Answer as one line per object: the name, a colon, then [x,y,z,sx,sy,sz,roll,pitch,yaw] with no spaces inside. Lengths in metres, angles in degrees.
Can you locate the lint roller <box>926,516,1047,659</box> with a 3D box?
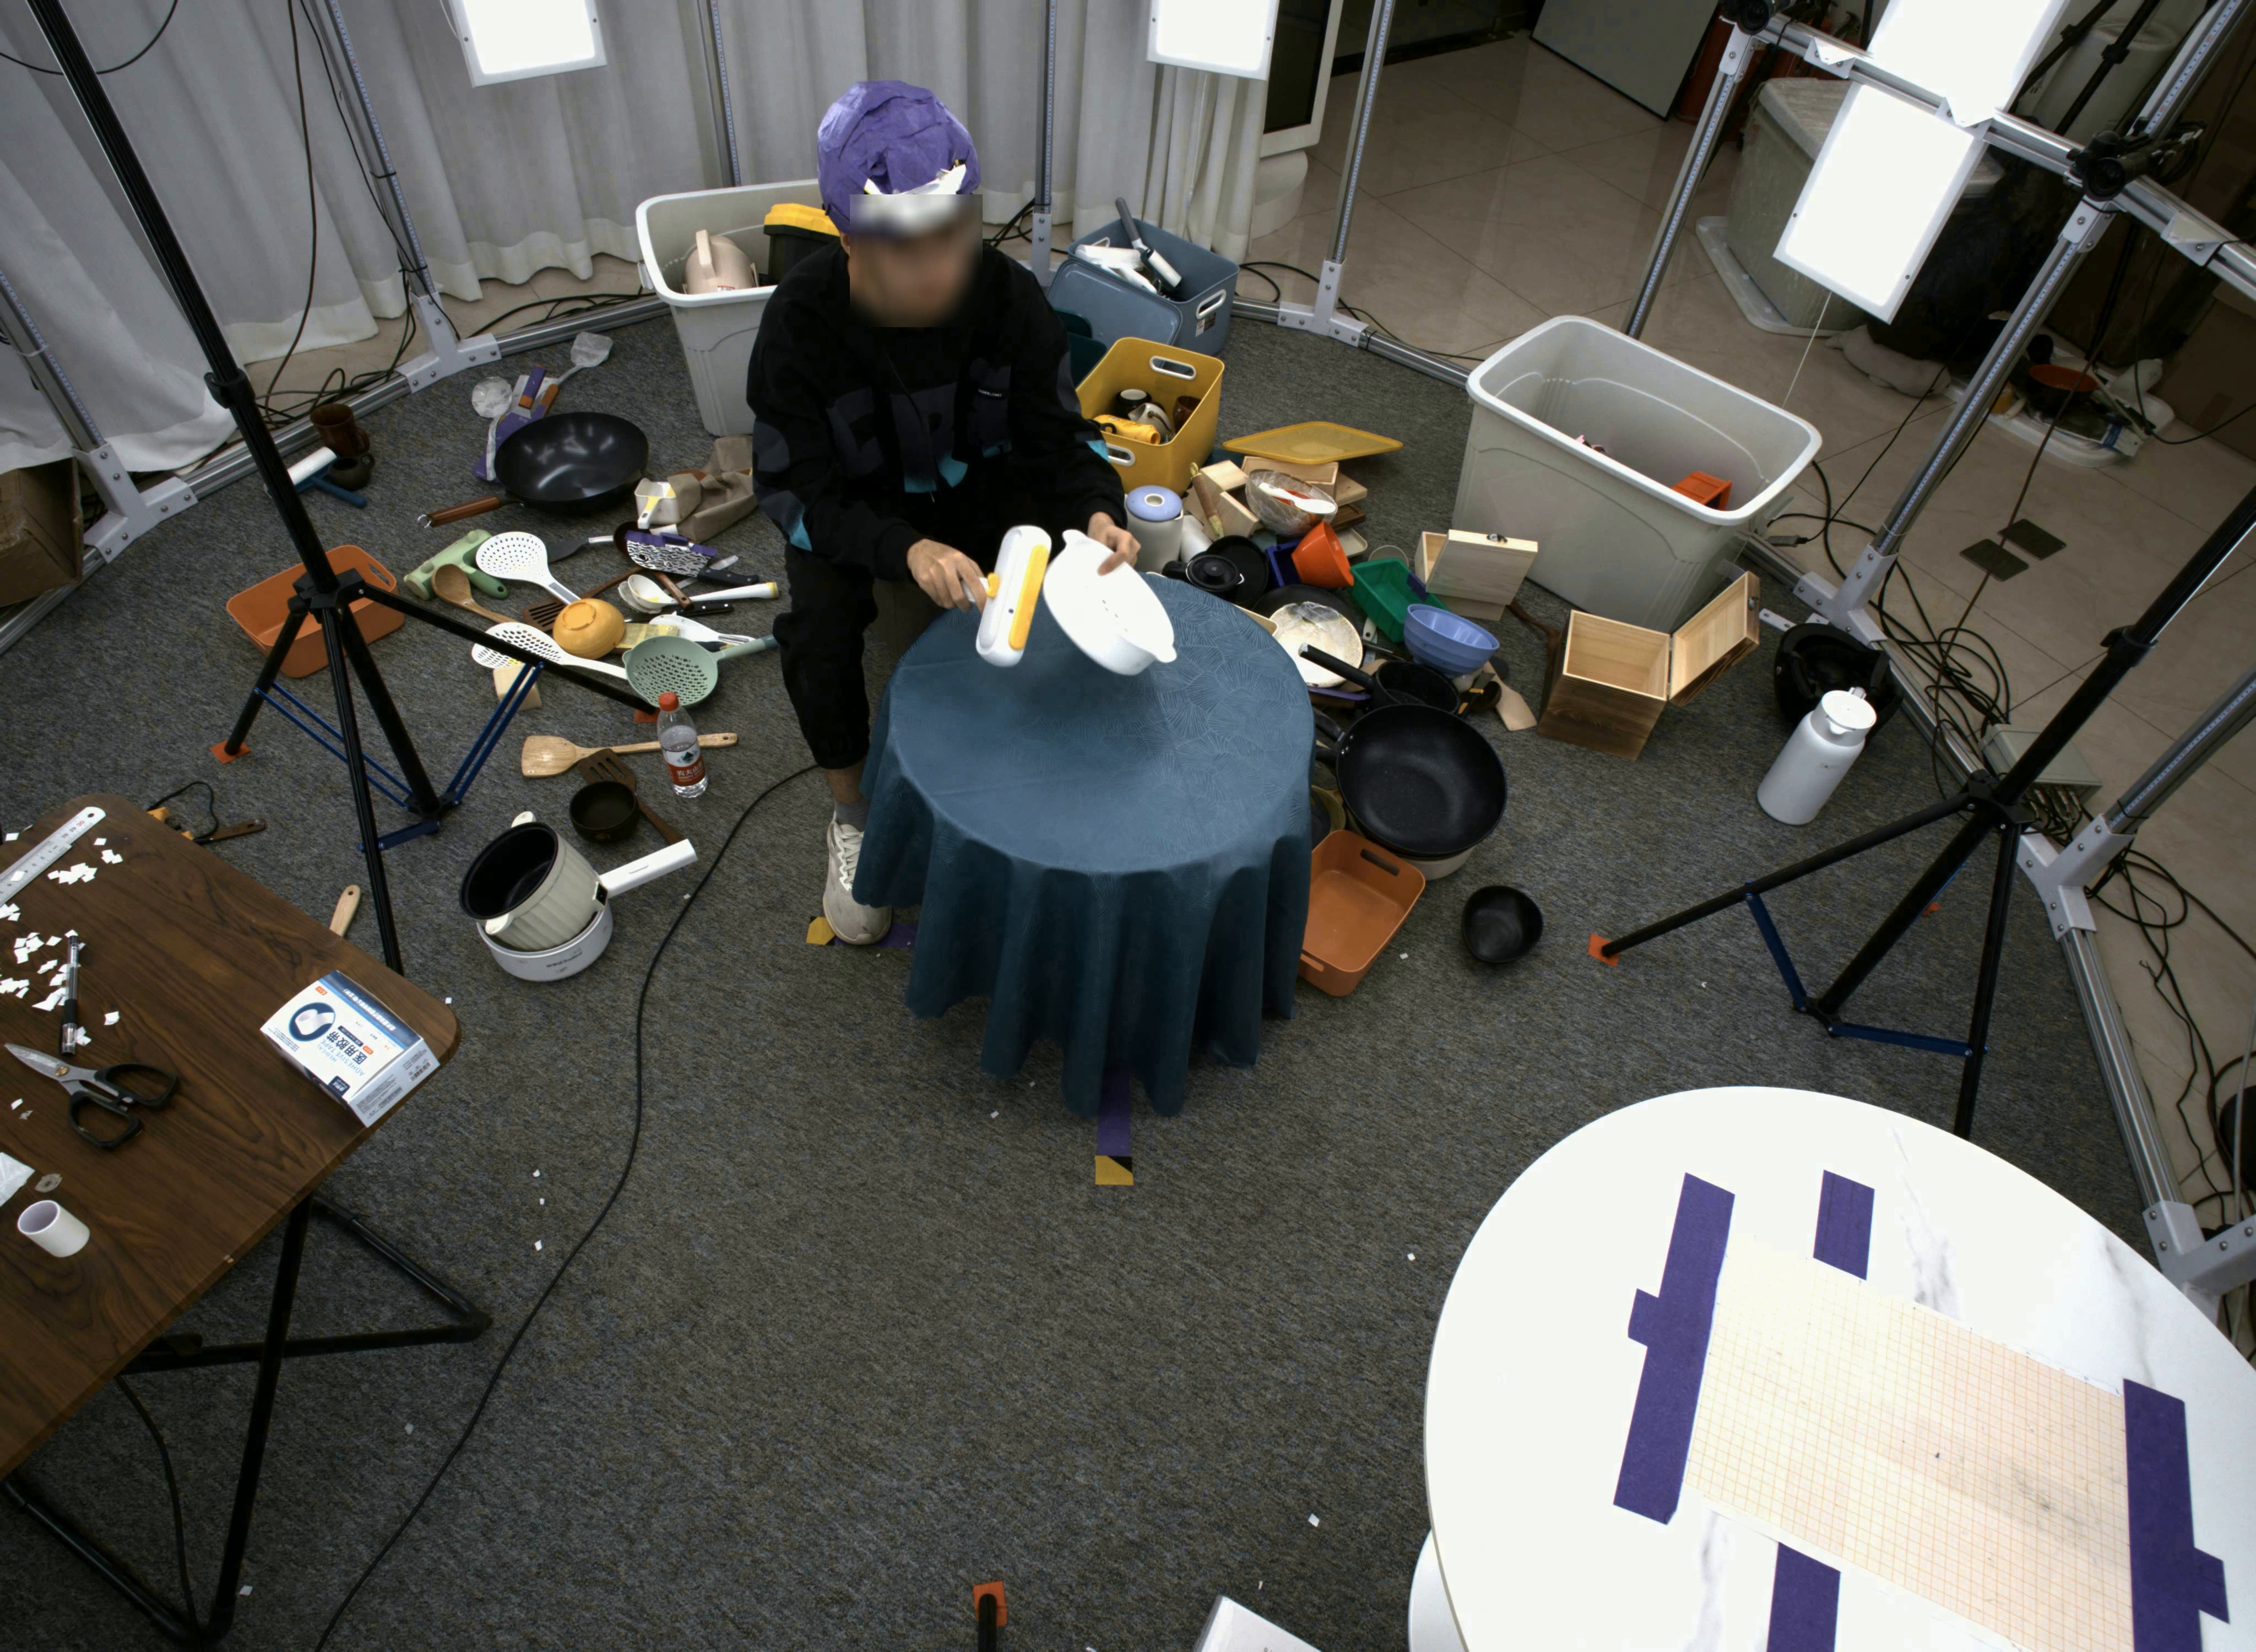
lint roller: [-0.199,-0.327,1.765,0.073,0.193,0.194,11,-3,-44]

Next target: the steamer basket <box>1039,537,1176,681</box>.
steamer basket: [-0.032,-0.291,1.761,0.232,0.068,0.203,50,26,6]
